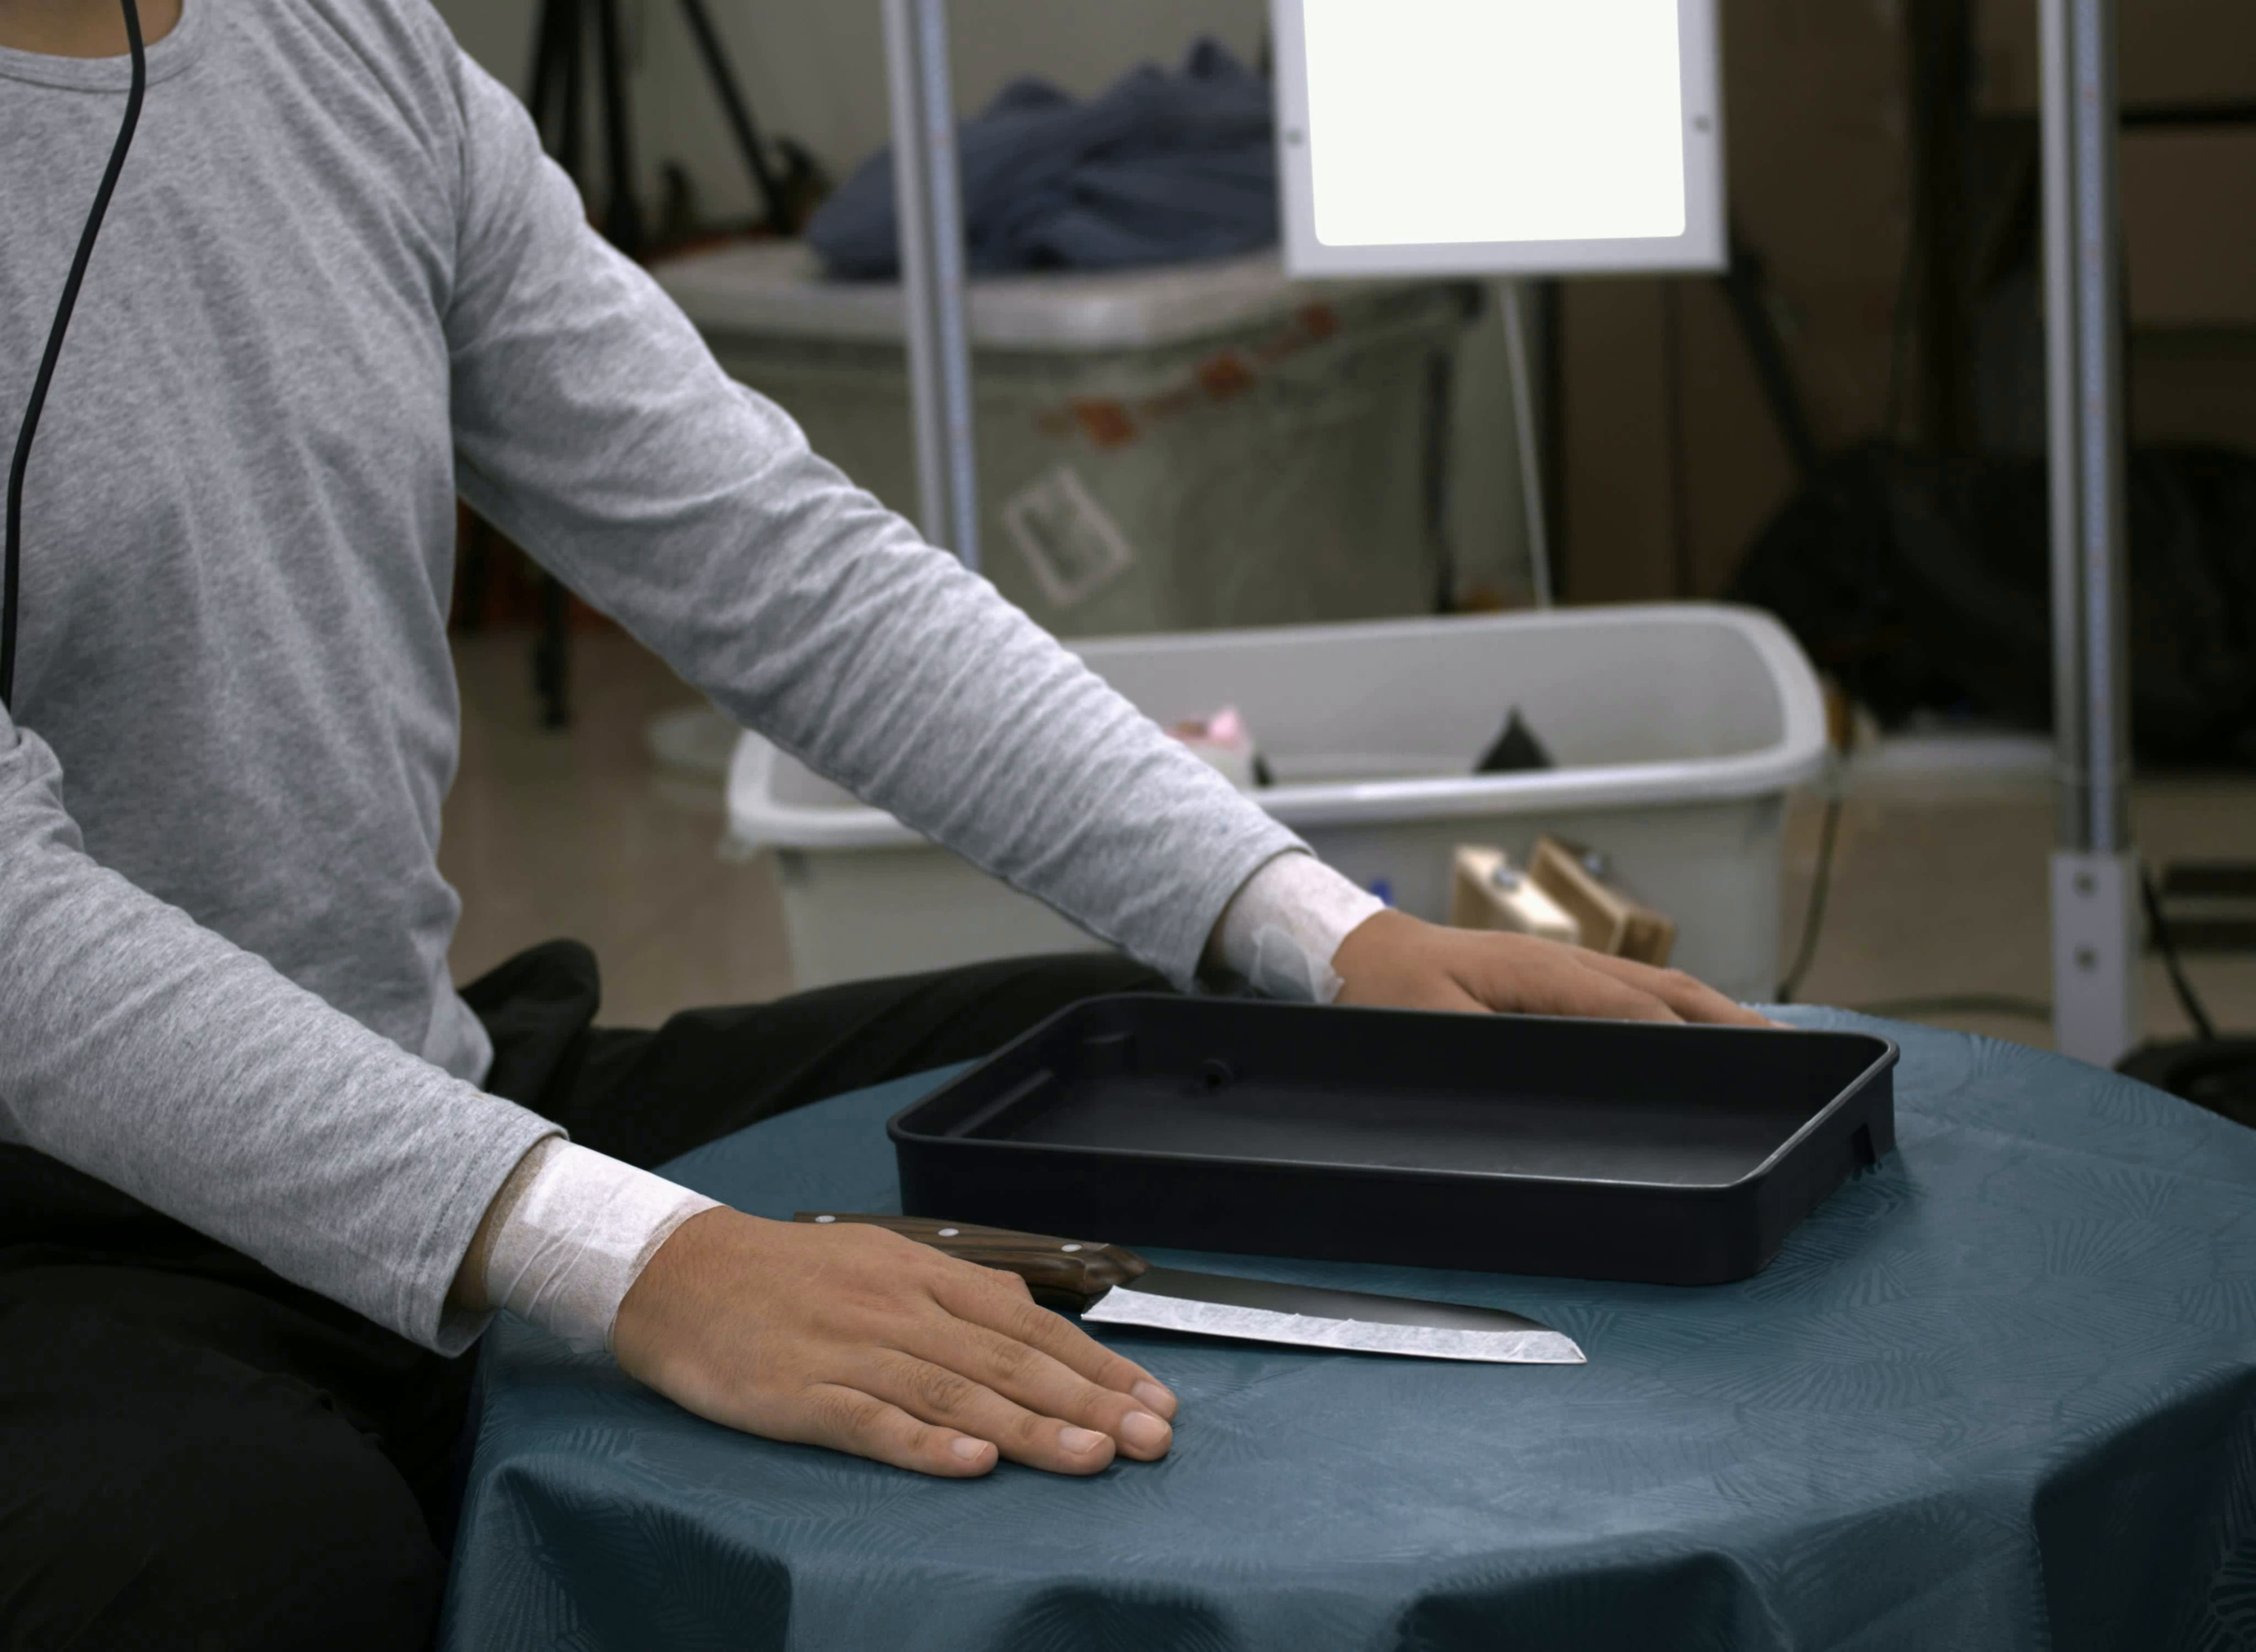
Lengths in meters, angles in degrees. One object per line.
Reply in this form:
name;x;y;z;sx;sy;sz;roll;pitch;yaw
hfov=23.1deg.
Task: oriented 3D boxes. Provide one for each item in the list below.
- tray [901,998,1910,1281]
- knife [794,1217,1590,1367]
tray;0.097;0.104;1.884;0.323;0.037;0.180;1;15;26
knife;0.016;0.151;1.766;0.294;0.020;0.049;5;22;29
